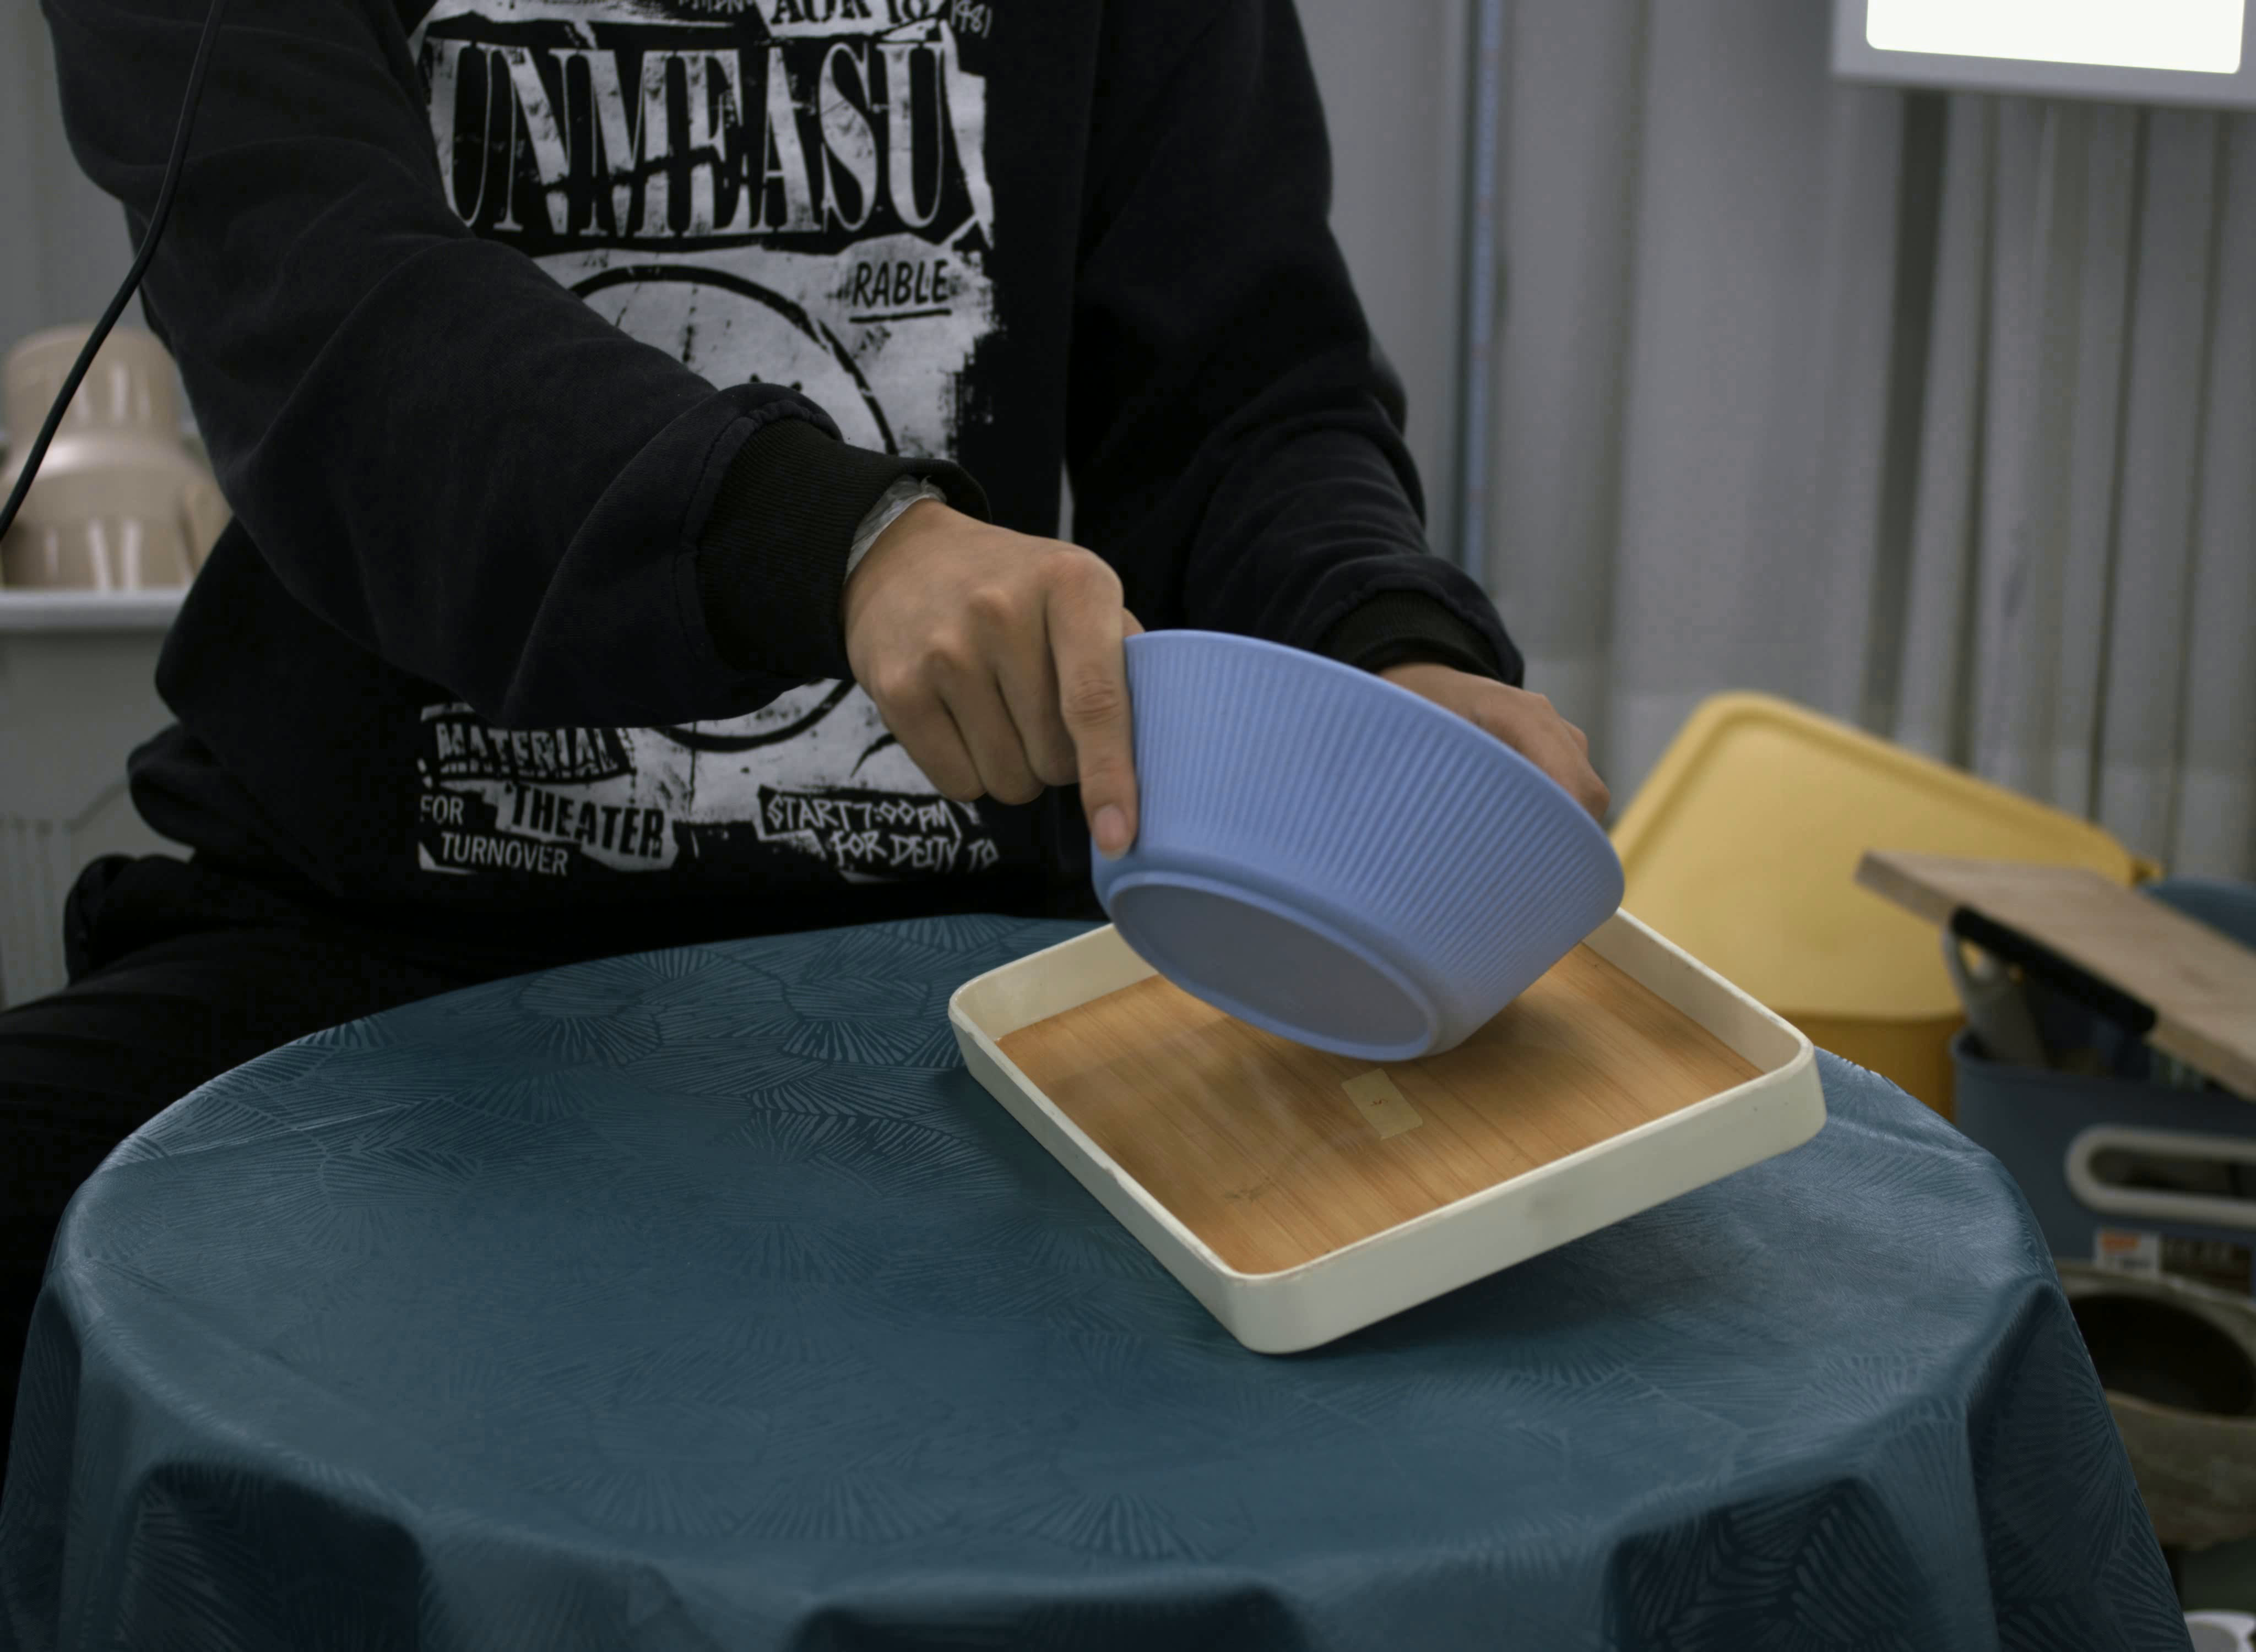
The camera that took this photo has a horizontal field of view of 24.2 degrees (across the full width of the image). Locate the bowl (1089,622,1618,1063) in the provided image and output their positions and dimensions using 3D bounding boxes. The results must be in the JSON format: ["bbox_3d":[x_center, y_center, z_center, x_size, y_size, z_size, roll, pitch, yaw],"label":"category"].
[{"bbox_3d":[0.055,0.014,1.591,0.175,0.070,0.177,23,-19,9],"label":"bowl"}]

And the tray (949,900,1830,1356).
[{"bbox_3d":[0.073,0.072,1.634,0.191,0.028,0.297,-21,22,-13],"label":"tray"}]
